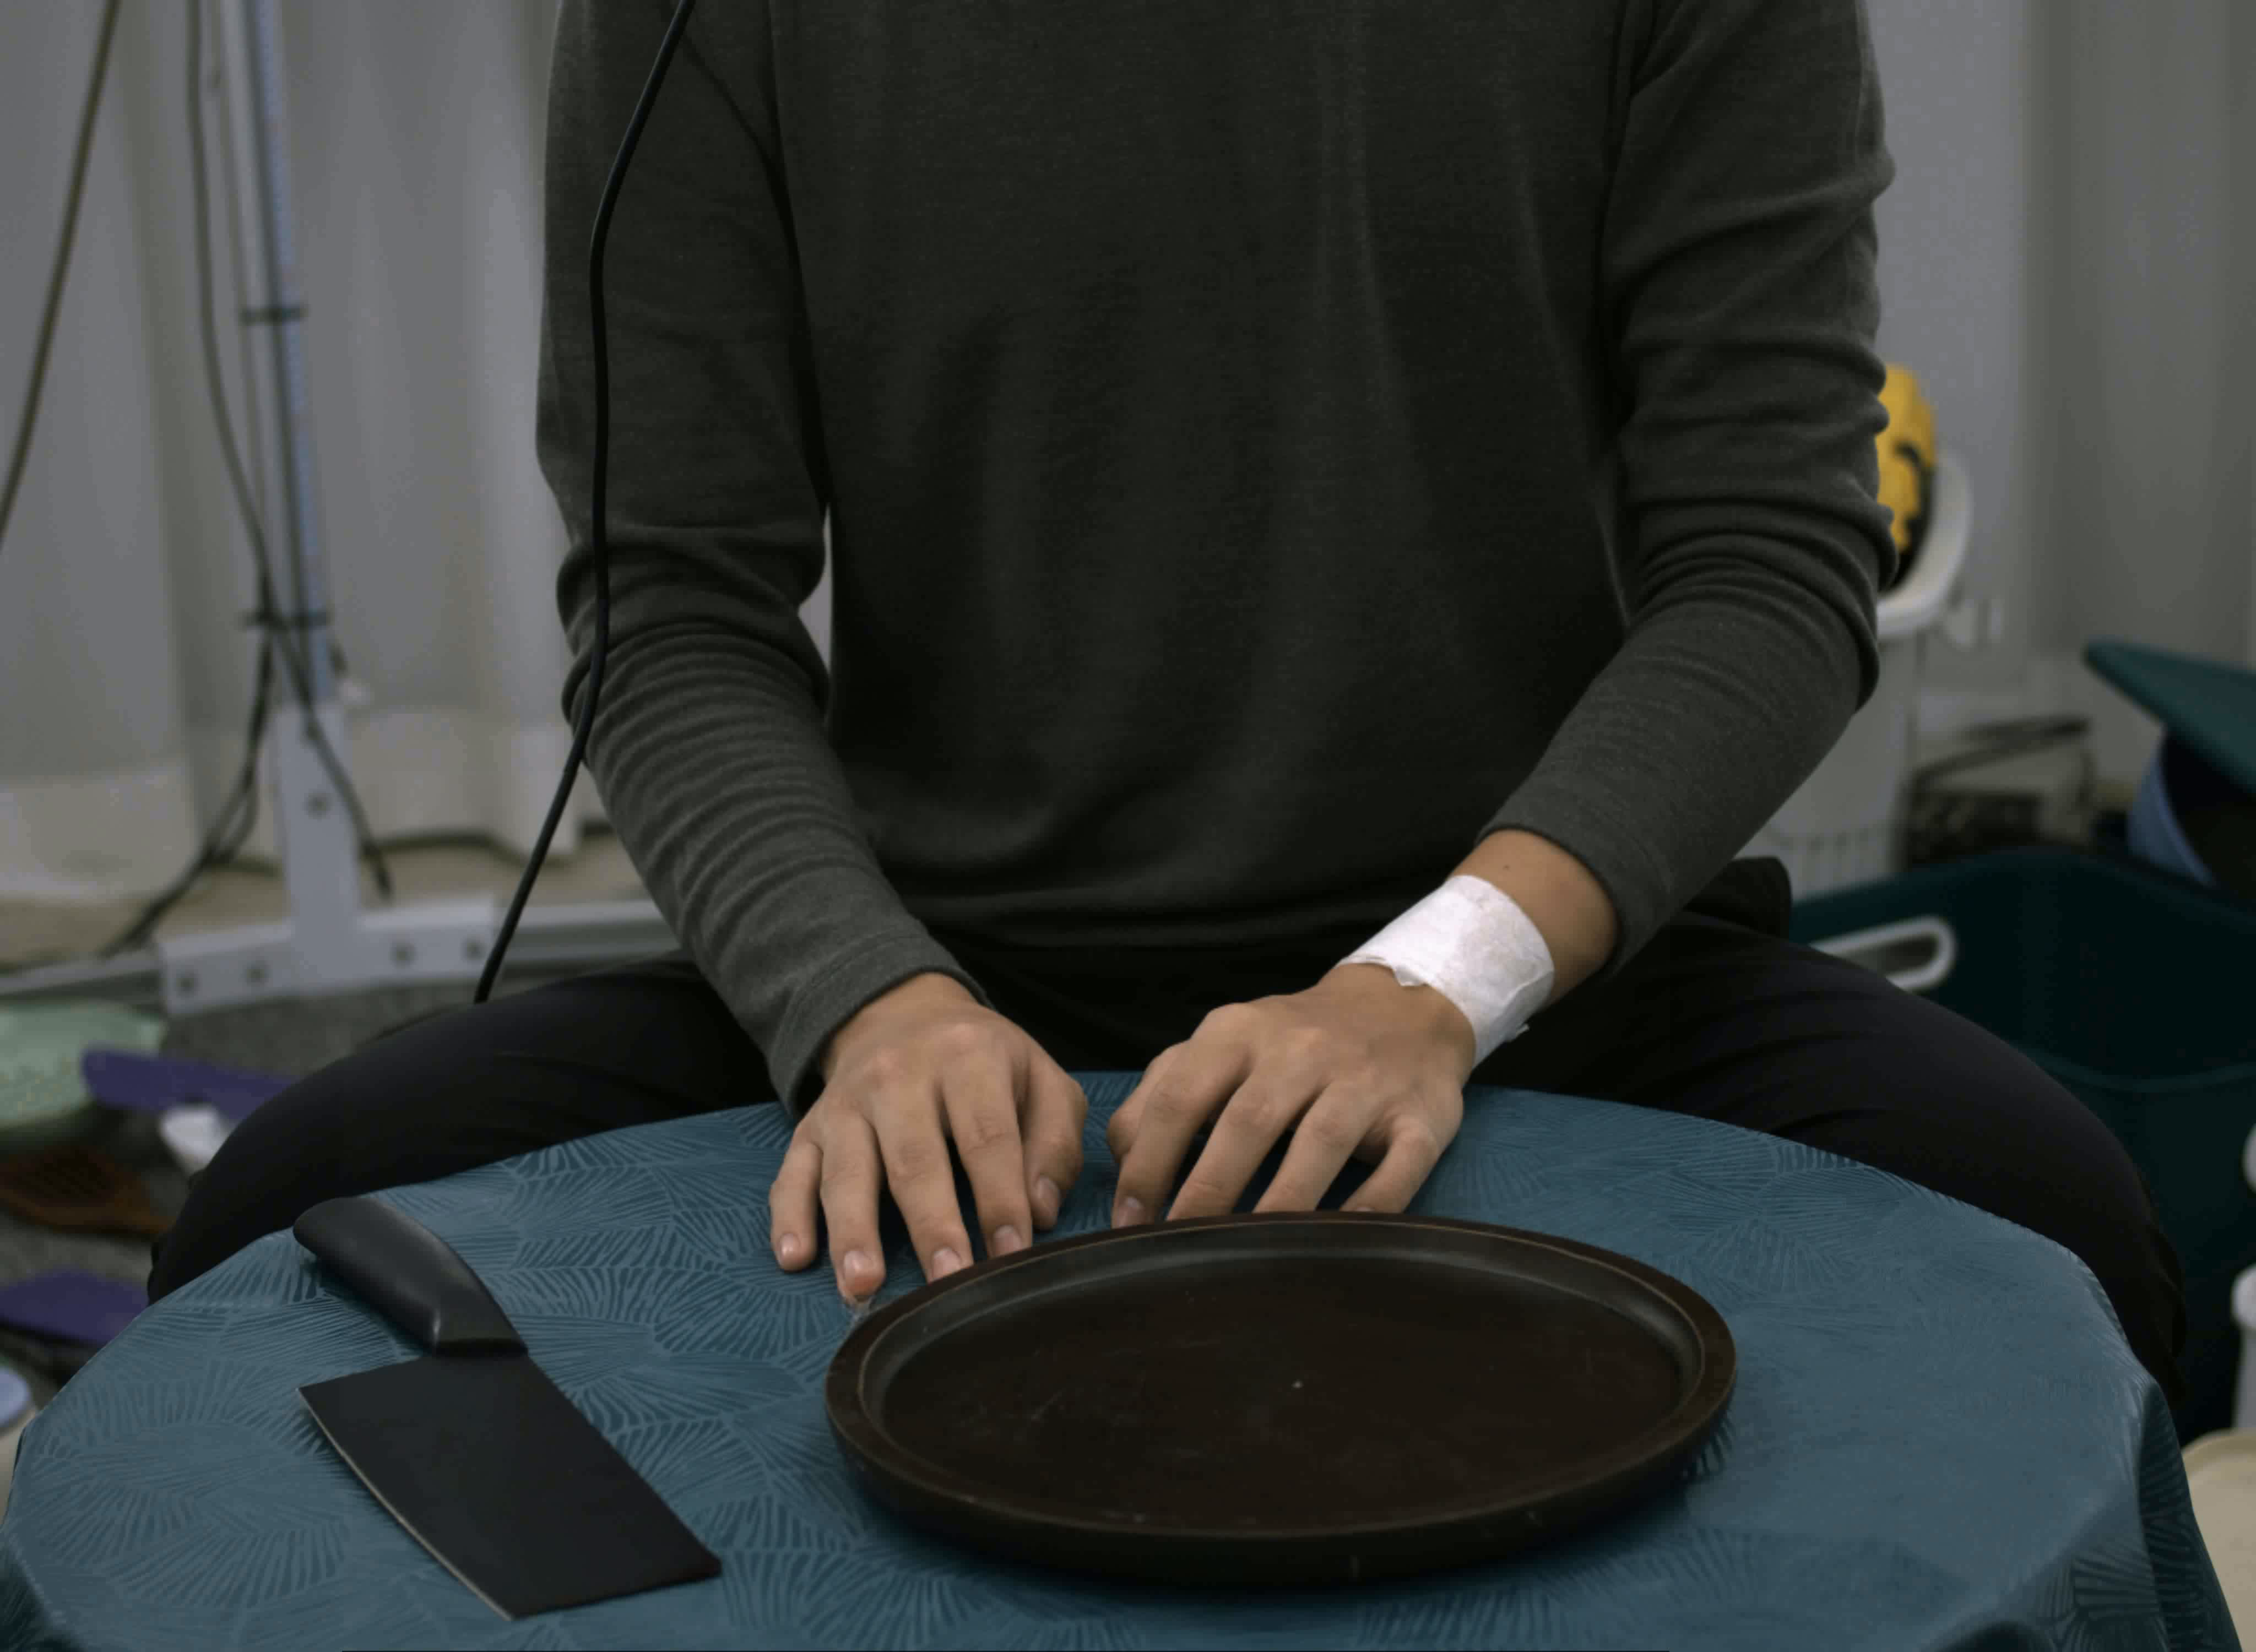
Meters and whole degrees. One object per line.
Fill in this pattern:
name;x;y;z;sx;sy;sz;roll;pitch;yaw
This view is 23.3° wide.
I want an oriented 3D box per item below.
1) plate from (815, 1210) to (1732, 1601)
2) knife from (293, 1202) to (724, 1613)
plate;0.041;0.157;1.507;0.254;0.029;0.256;-4;15;1
knife;-0.192;0.162;1.549;0.080;0.021;0.305;-9;18;-18
